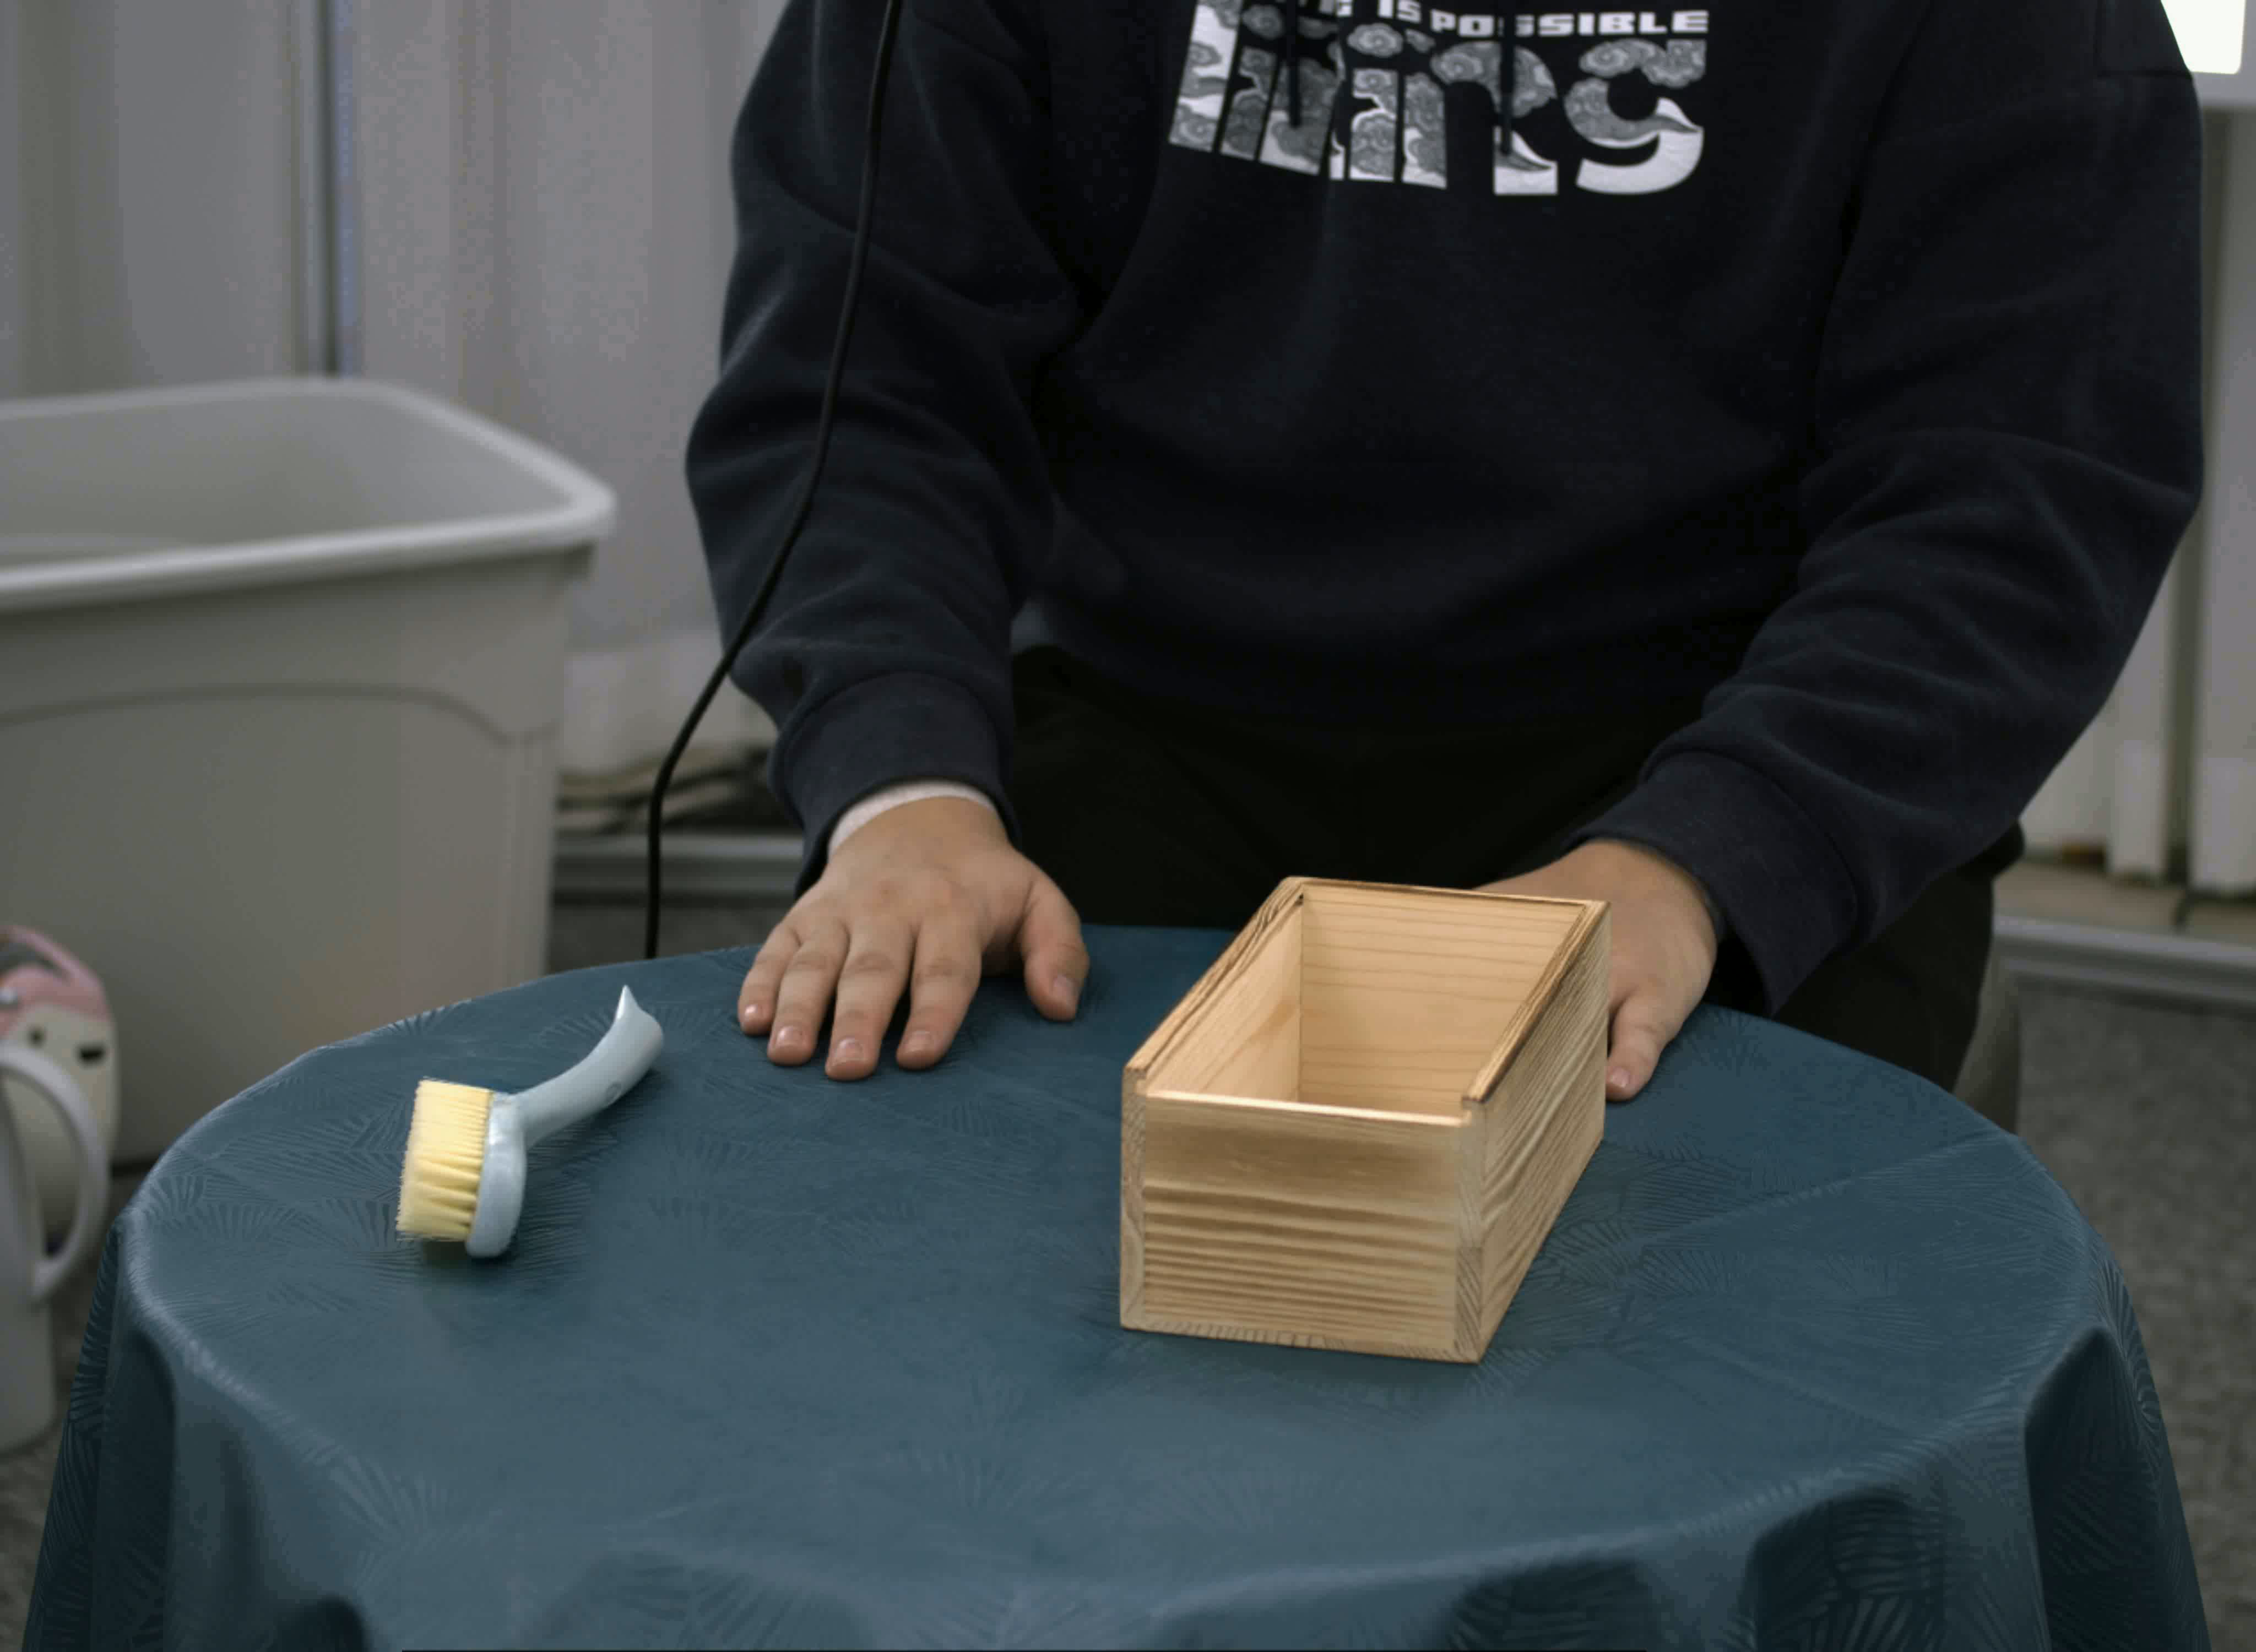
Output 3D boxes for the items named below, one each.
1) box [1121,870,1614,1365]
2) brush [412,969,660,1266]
[{"bbox_3d":[0.076,0.083,1.584,0.107,0.081,0.211,5,16,13],"label":"box"},{"bbox_3d":[-0.187,0.084,1.648,0.049,0.038,0.228,10,17,5],"label":"brush"}]
